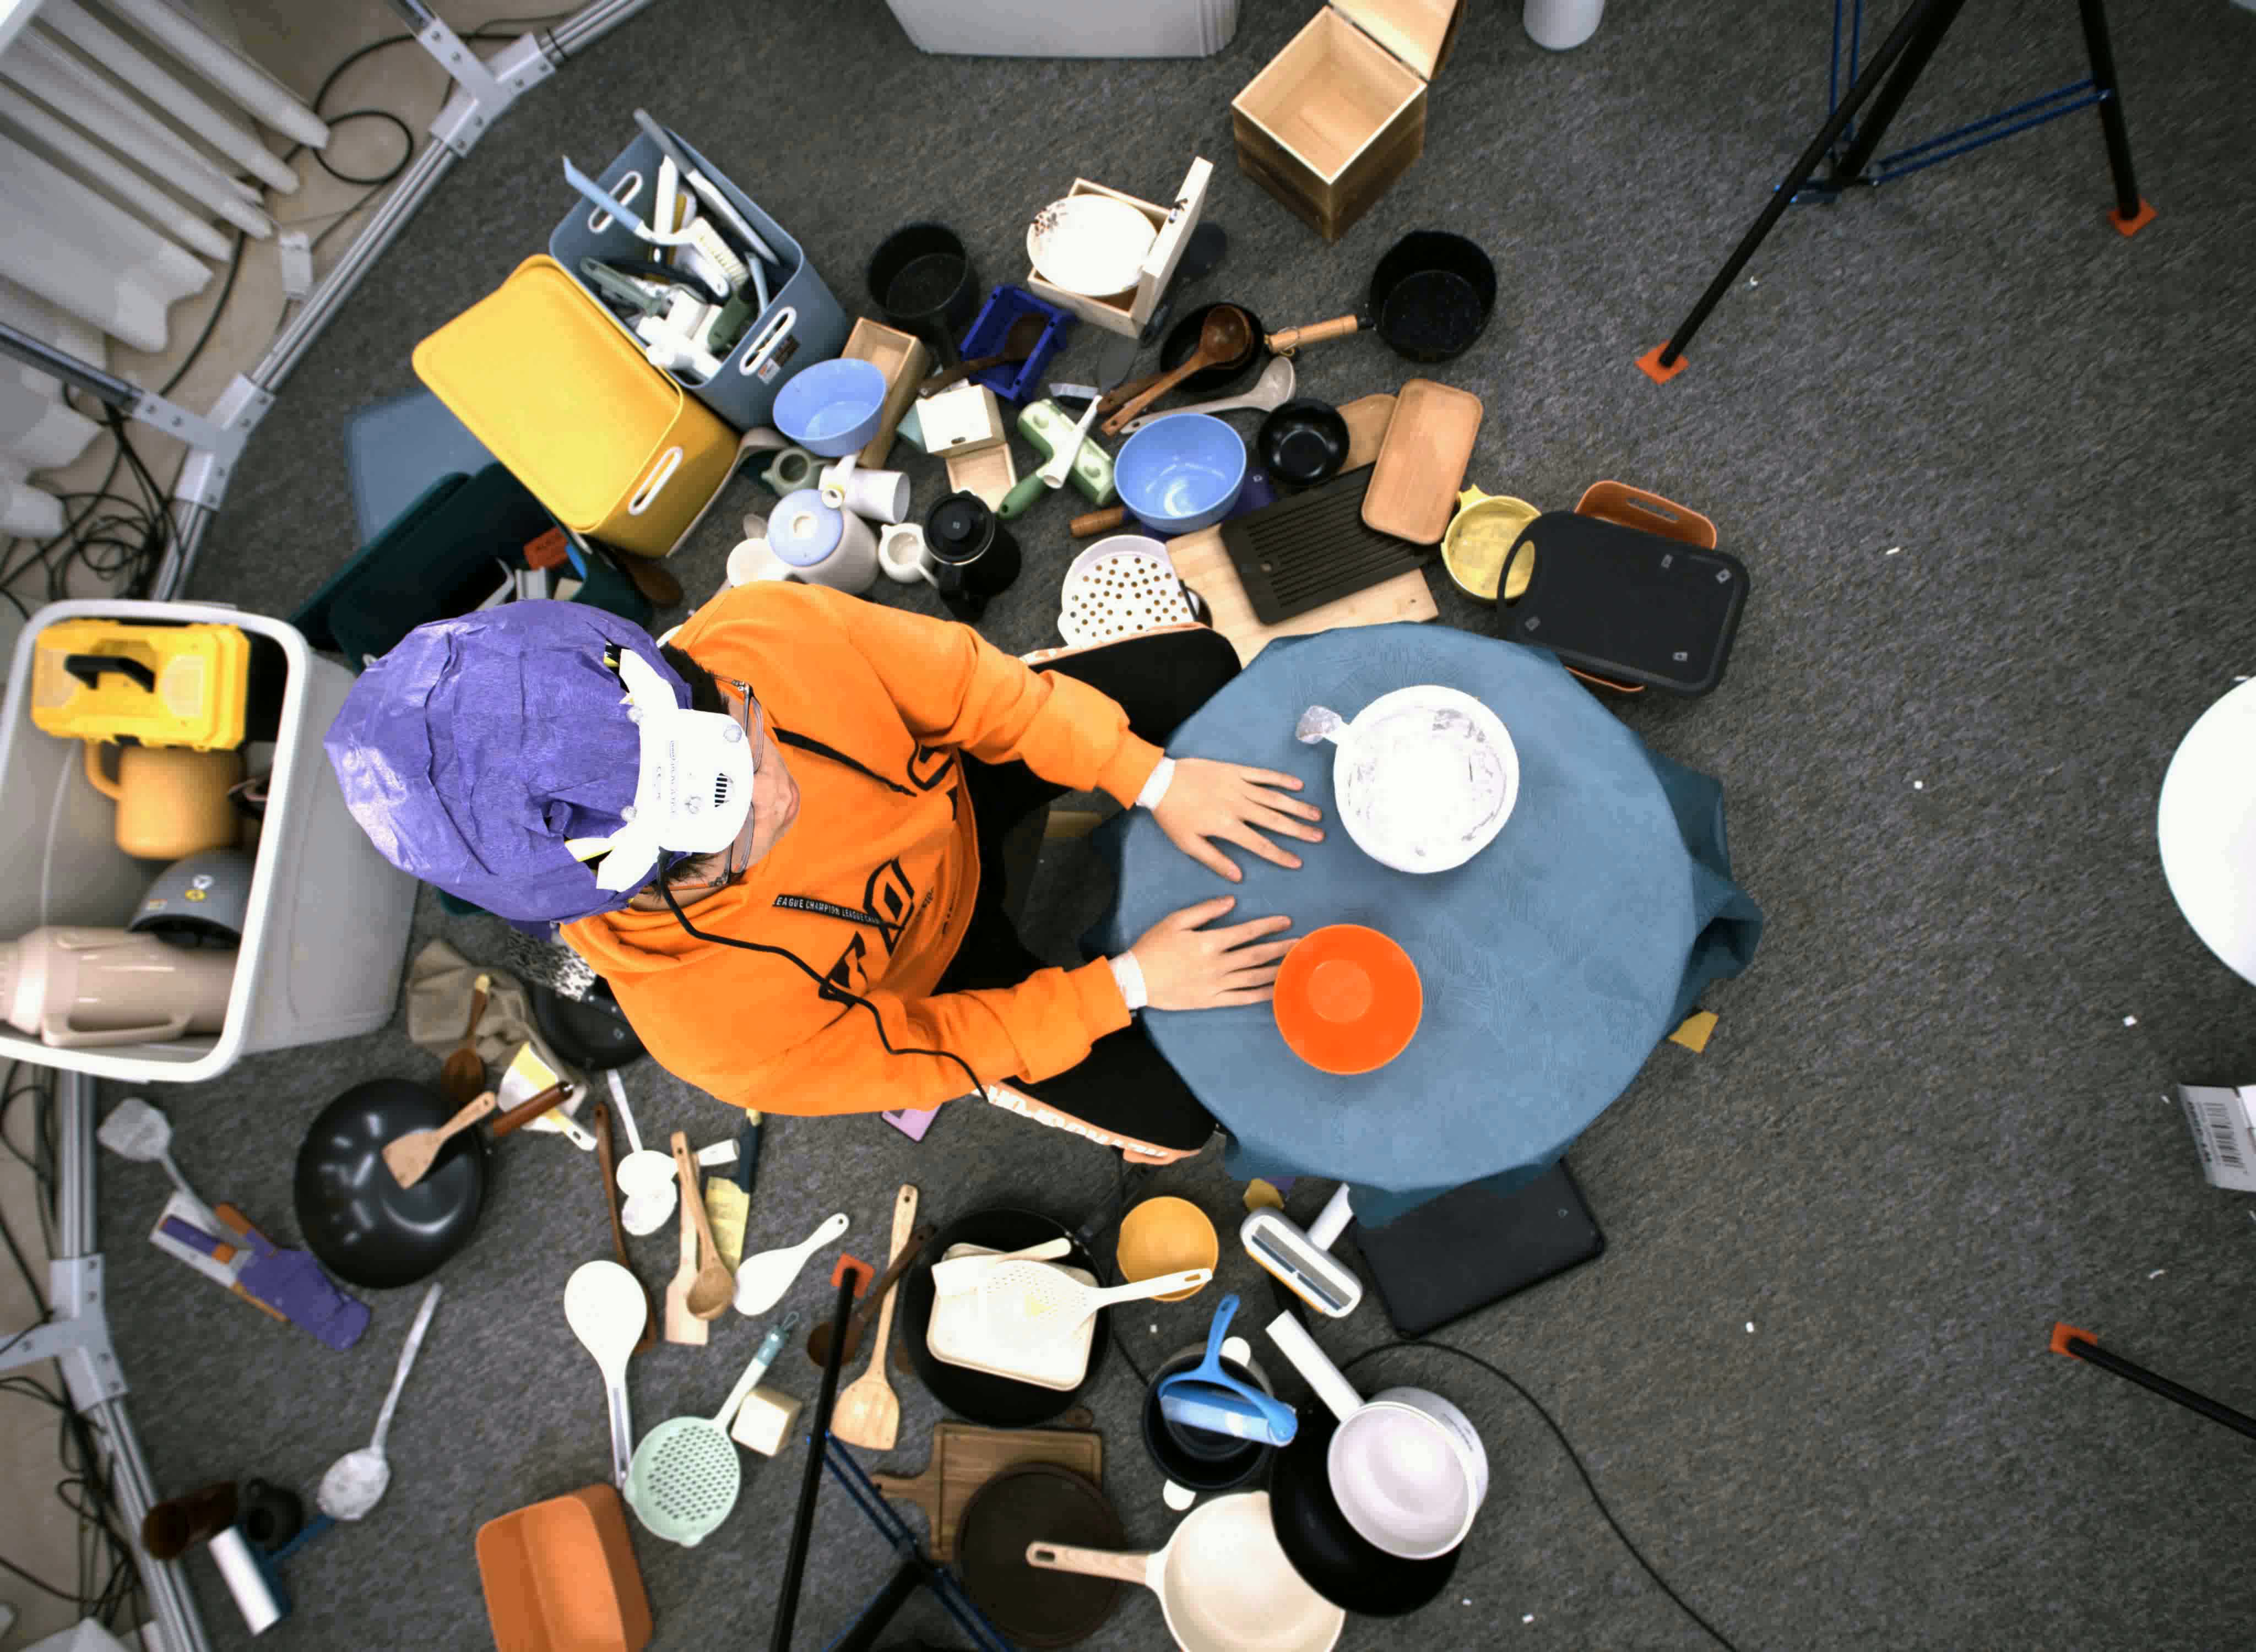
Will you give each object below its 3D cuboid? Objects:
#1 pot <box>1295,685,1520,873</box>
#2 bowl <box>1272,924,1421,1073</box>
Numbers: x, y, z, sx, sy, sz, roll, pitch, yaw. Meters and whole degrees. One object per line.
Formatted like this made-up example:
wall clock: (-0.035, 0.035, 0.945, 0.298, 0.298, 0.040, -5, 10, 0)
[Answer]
pot: (0.274, -0.057, 1.397, 0.233, 0.137, 0.179, 29, 91, 11)
bowl: (0.223, 0.175, 1.414, 0.148, 0.105, 0.147, -1, 84, 11)
